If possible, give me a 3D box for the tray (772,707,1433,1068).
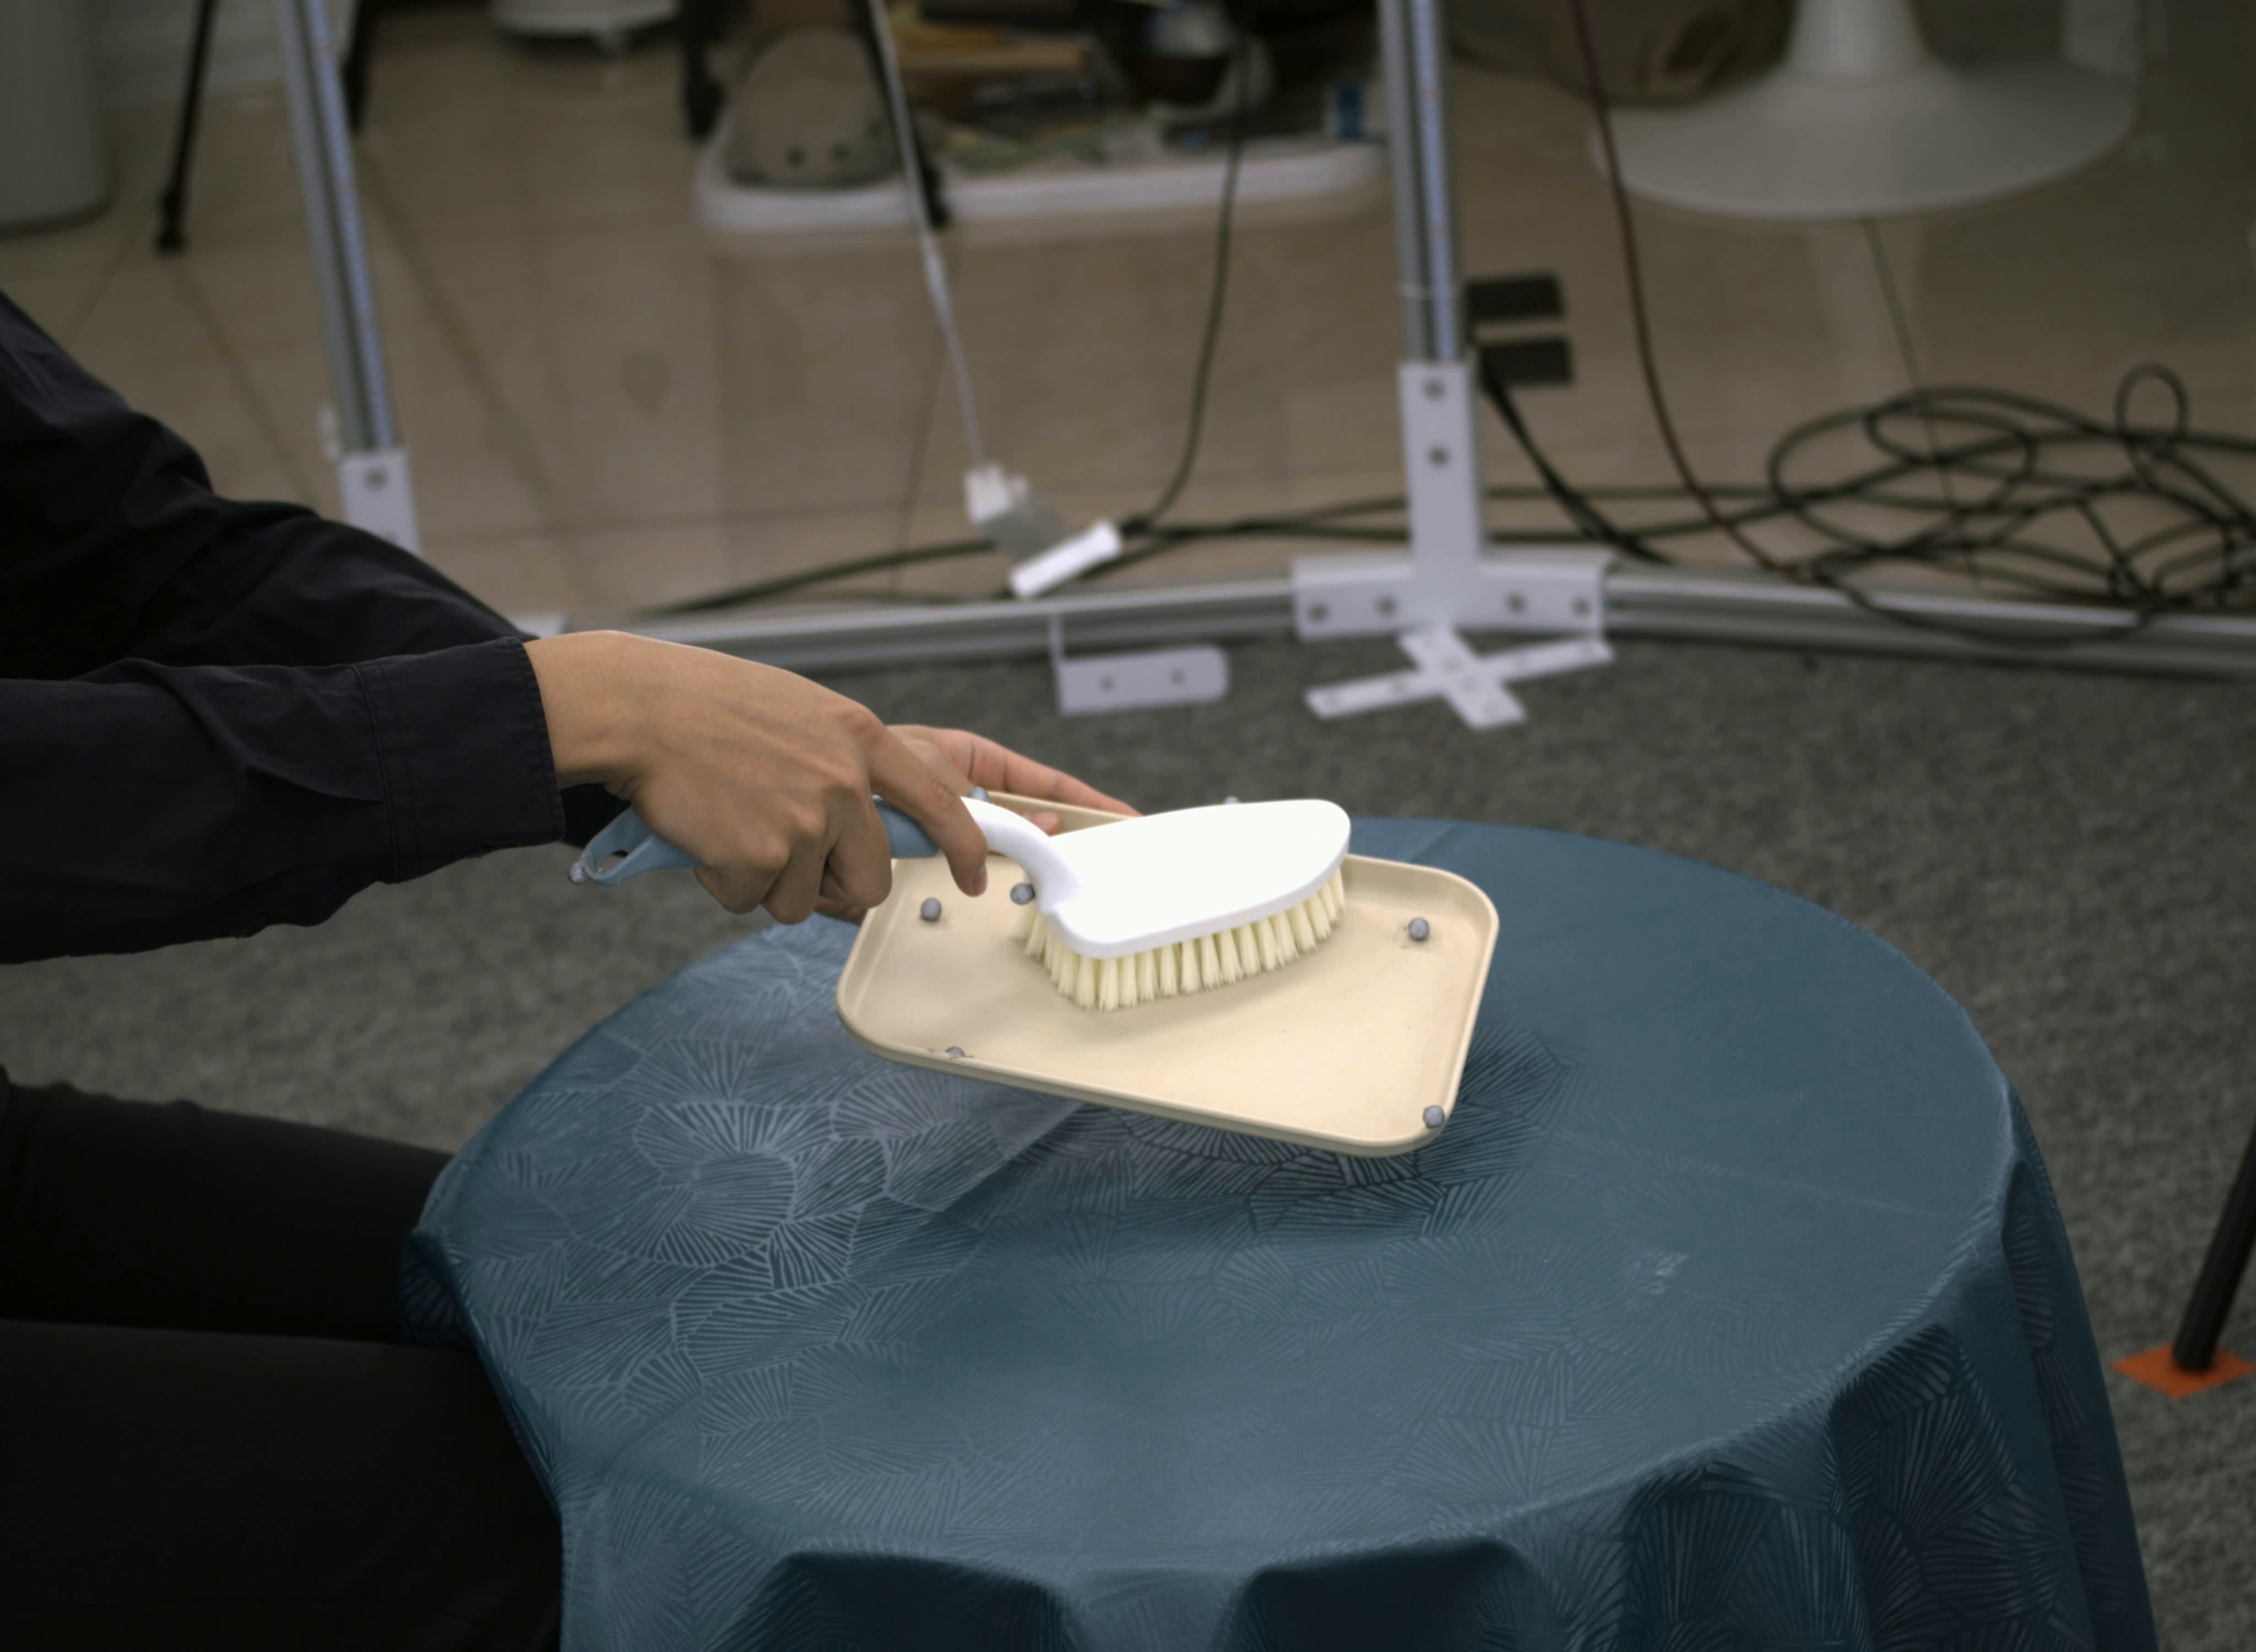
[{"bbox_3d":[-0.008,0.024,2.196,0.239,0.018,0.168,11,39,7],"label":"tray"}]

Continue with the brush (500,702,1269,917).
[{"bbox_3d":[-0.094,-0.005,2.164,0.325,0.085,0.083,-2,1,-28],"label":"brush"}]
